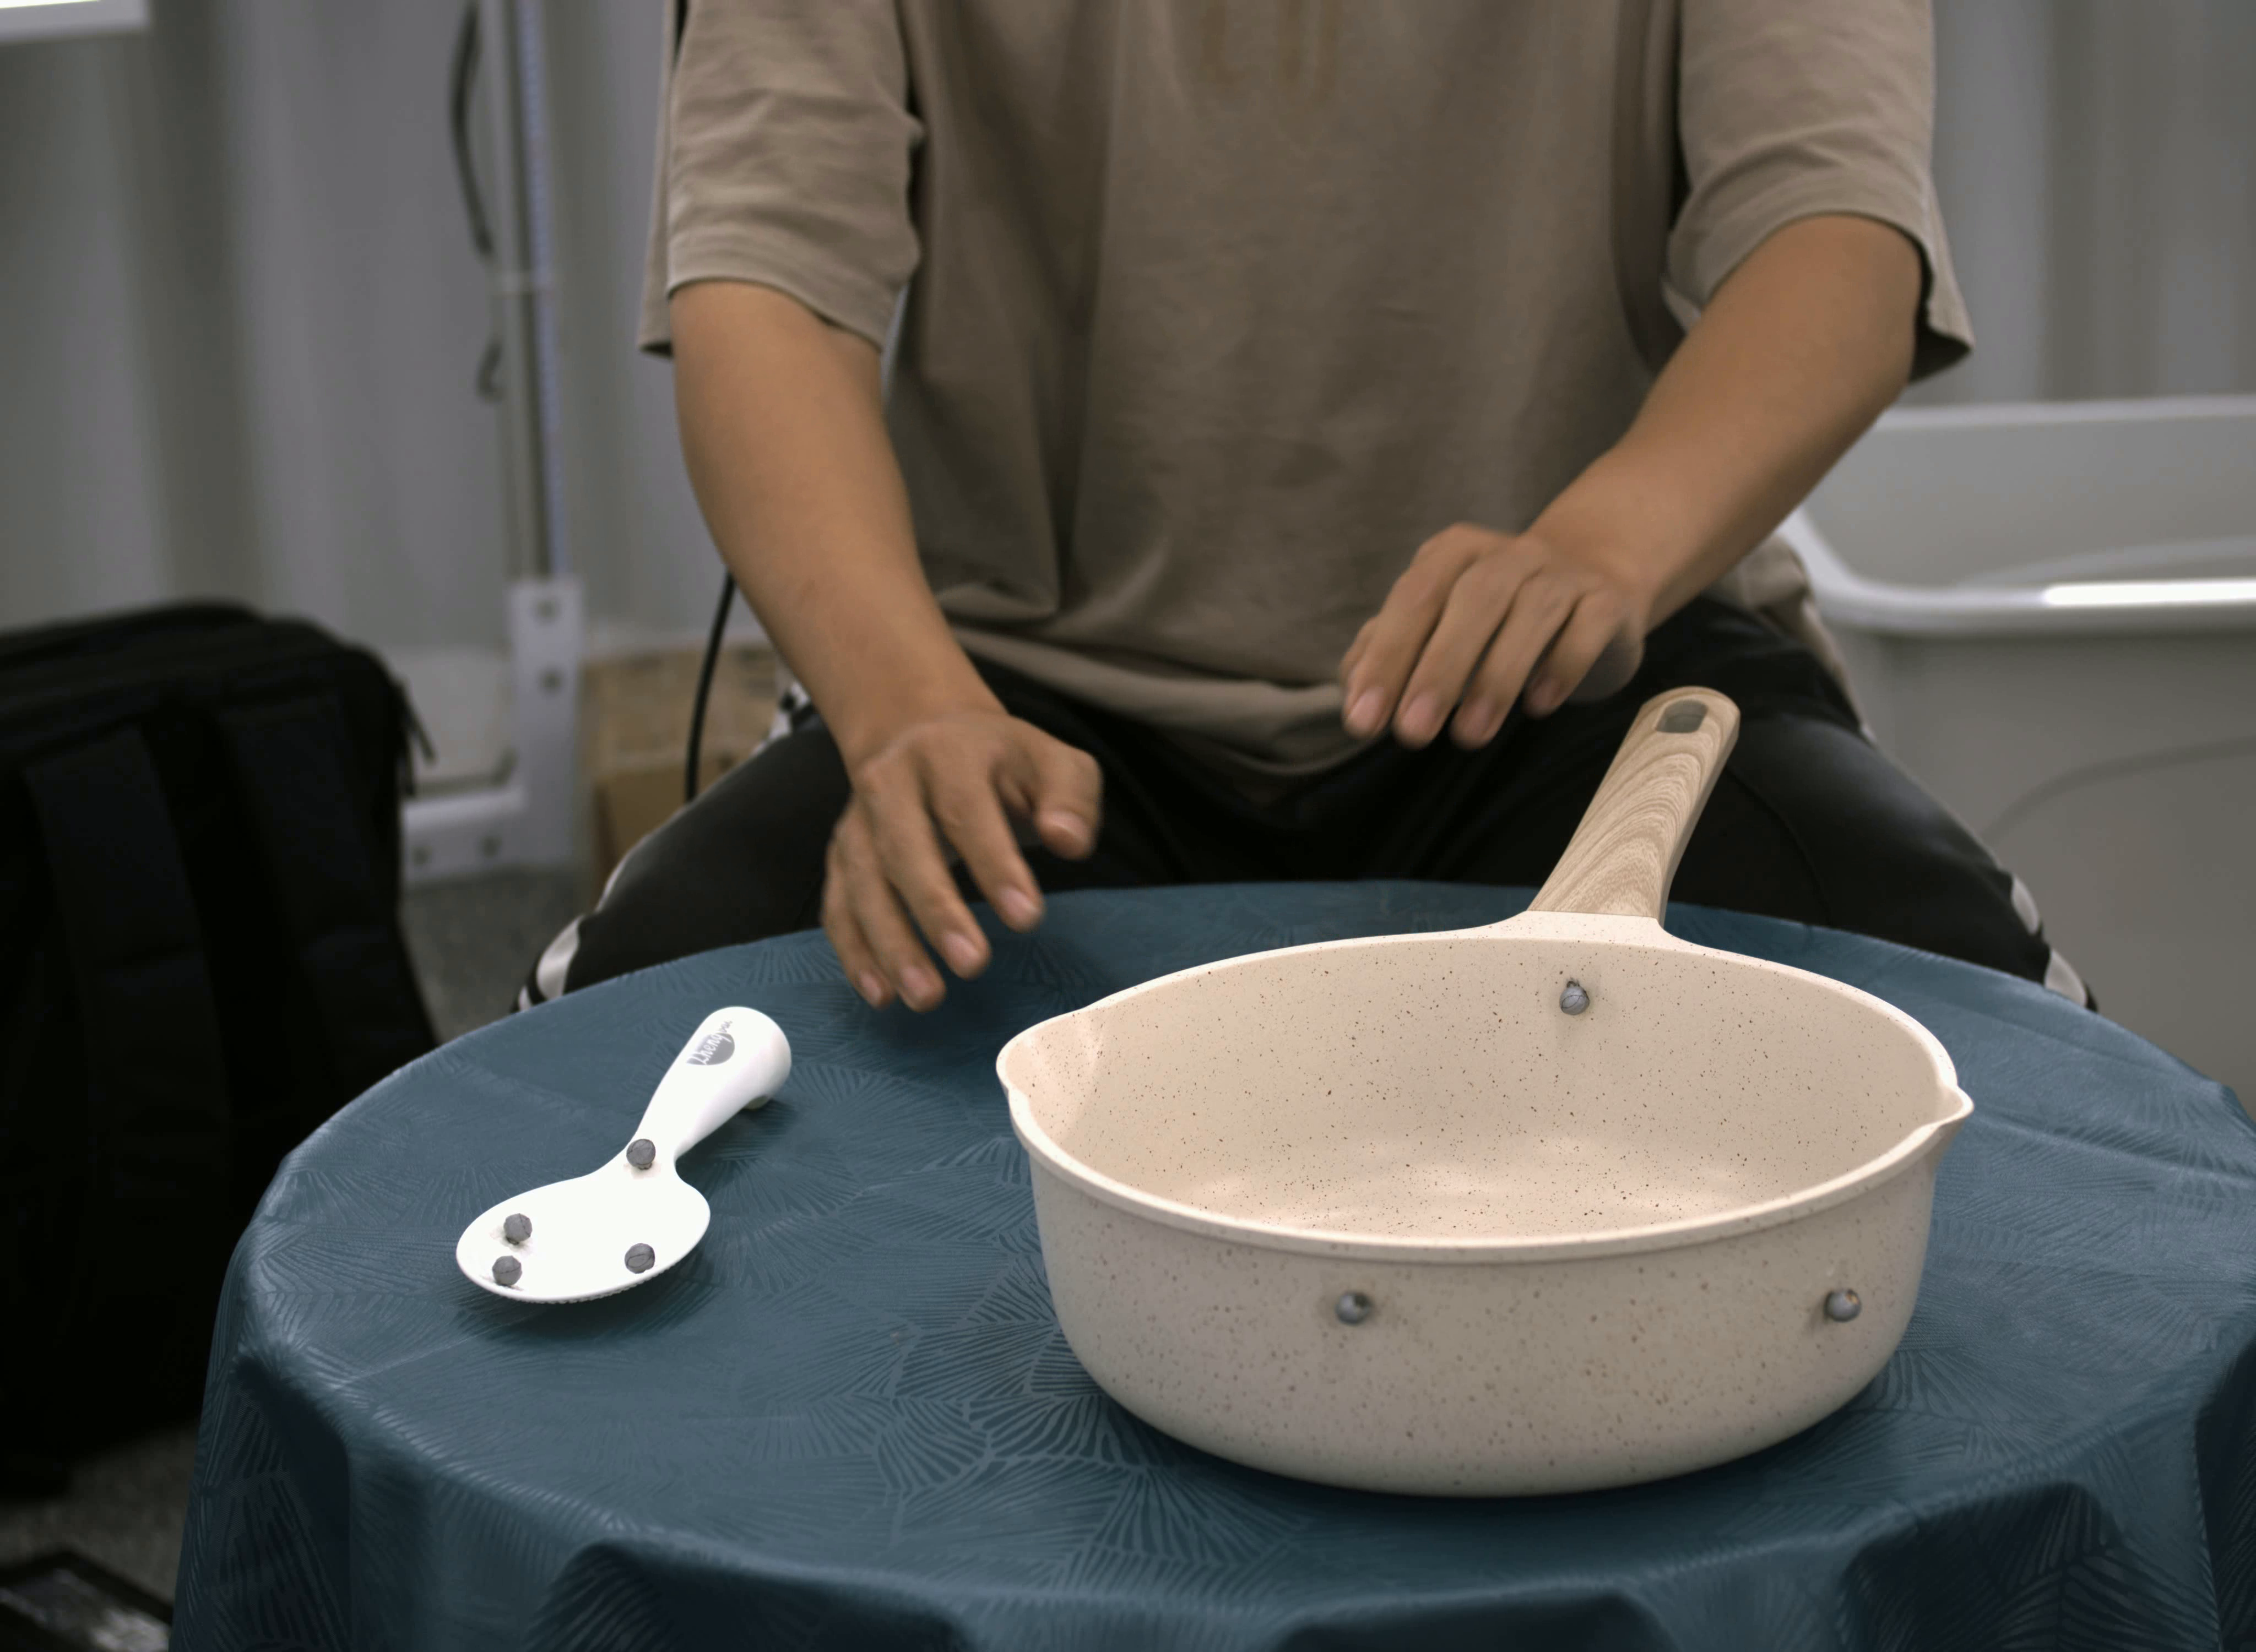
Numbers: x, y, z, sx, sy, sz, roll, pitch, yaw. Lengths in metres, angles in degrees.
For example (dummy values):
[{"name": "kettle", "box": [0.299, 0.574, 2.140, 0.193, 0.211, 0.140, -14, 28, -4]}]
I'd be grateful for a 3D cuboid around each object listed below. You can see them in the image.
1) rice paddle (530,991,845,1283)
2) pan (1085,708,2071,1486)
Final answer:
[{"name": "rice paddle", "box": [-0.121, 0.093, 1.555, 0.069, 0.029, 0.204, 0, 16, 12]}, {"name": "pan", "box": [0.143, 0.071, 1.486, 0.266, 0.102, 0.431, 1, 16, 17]}]
